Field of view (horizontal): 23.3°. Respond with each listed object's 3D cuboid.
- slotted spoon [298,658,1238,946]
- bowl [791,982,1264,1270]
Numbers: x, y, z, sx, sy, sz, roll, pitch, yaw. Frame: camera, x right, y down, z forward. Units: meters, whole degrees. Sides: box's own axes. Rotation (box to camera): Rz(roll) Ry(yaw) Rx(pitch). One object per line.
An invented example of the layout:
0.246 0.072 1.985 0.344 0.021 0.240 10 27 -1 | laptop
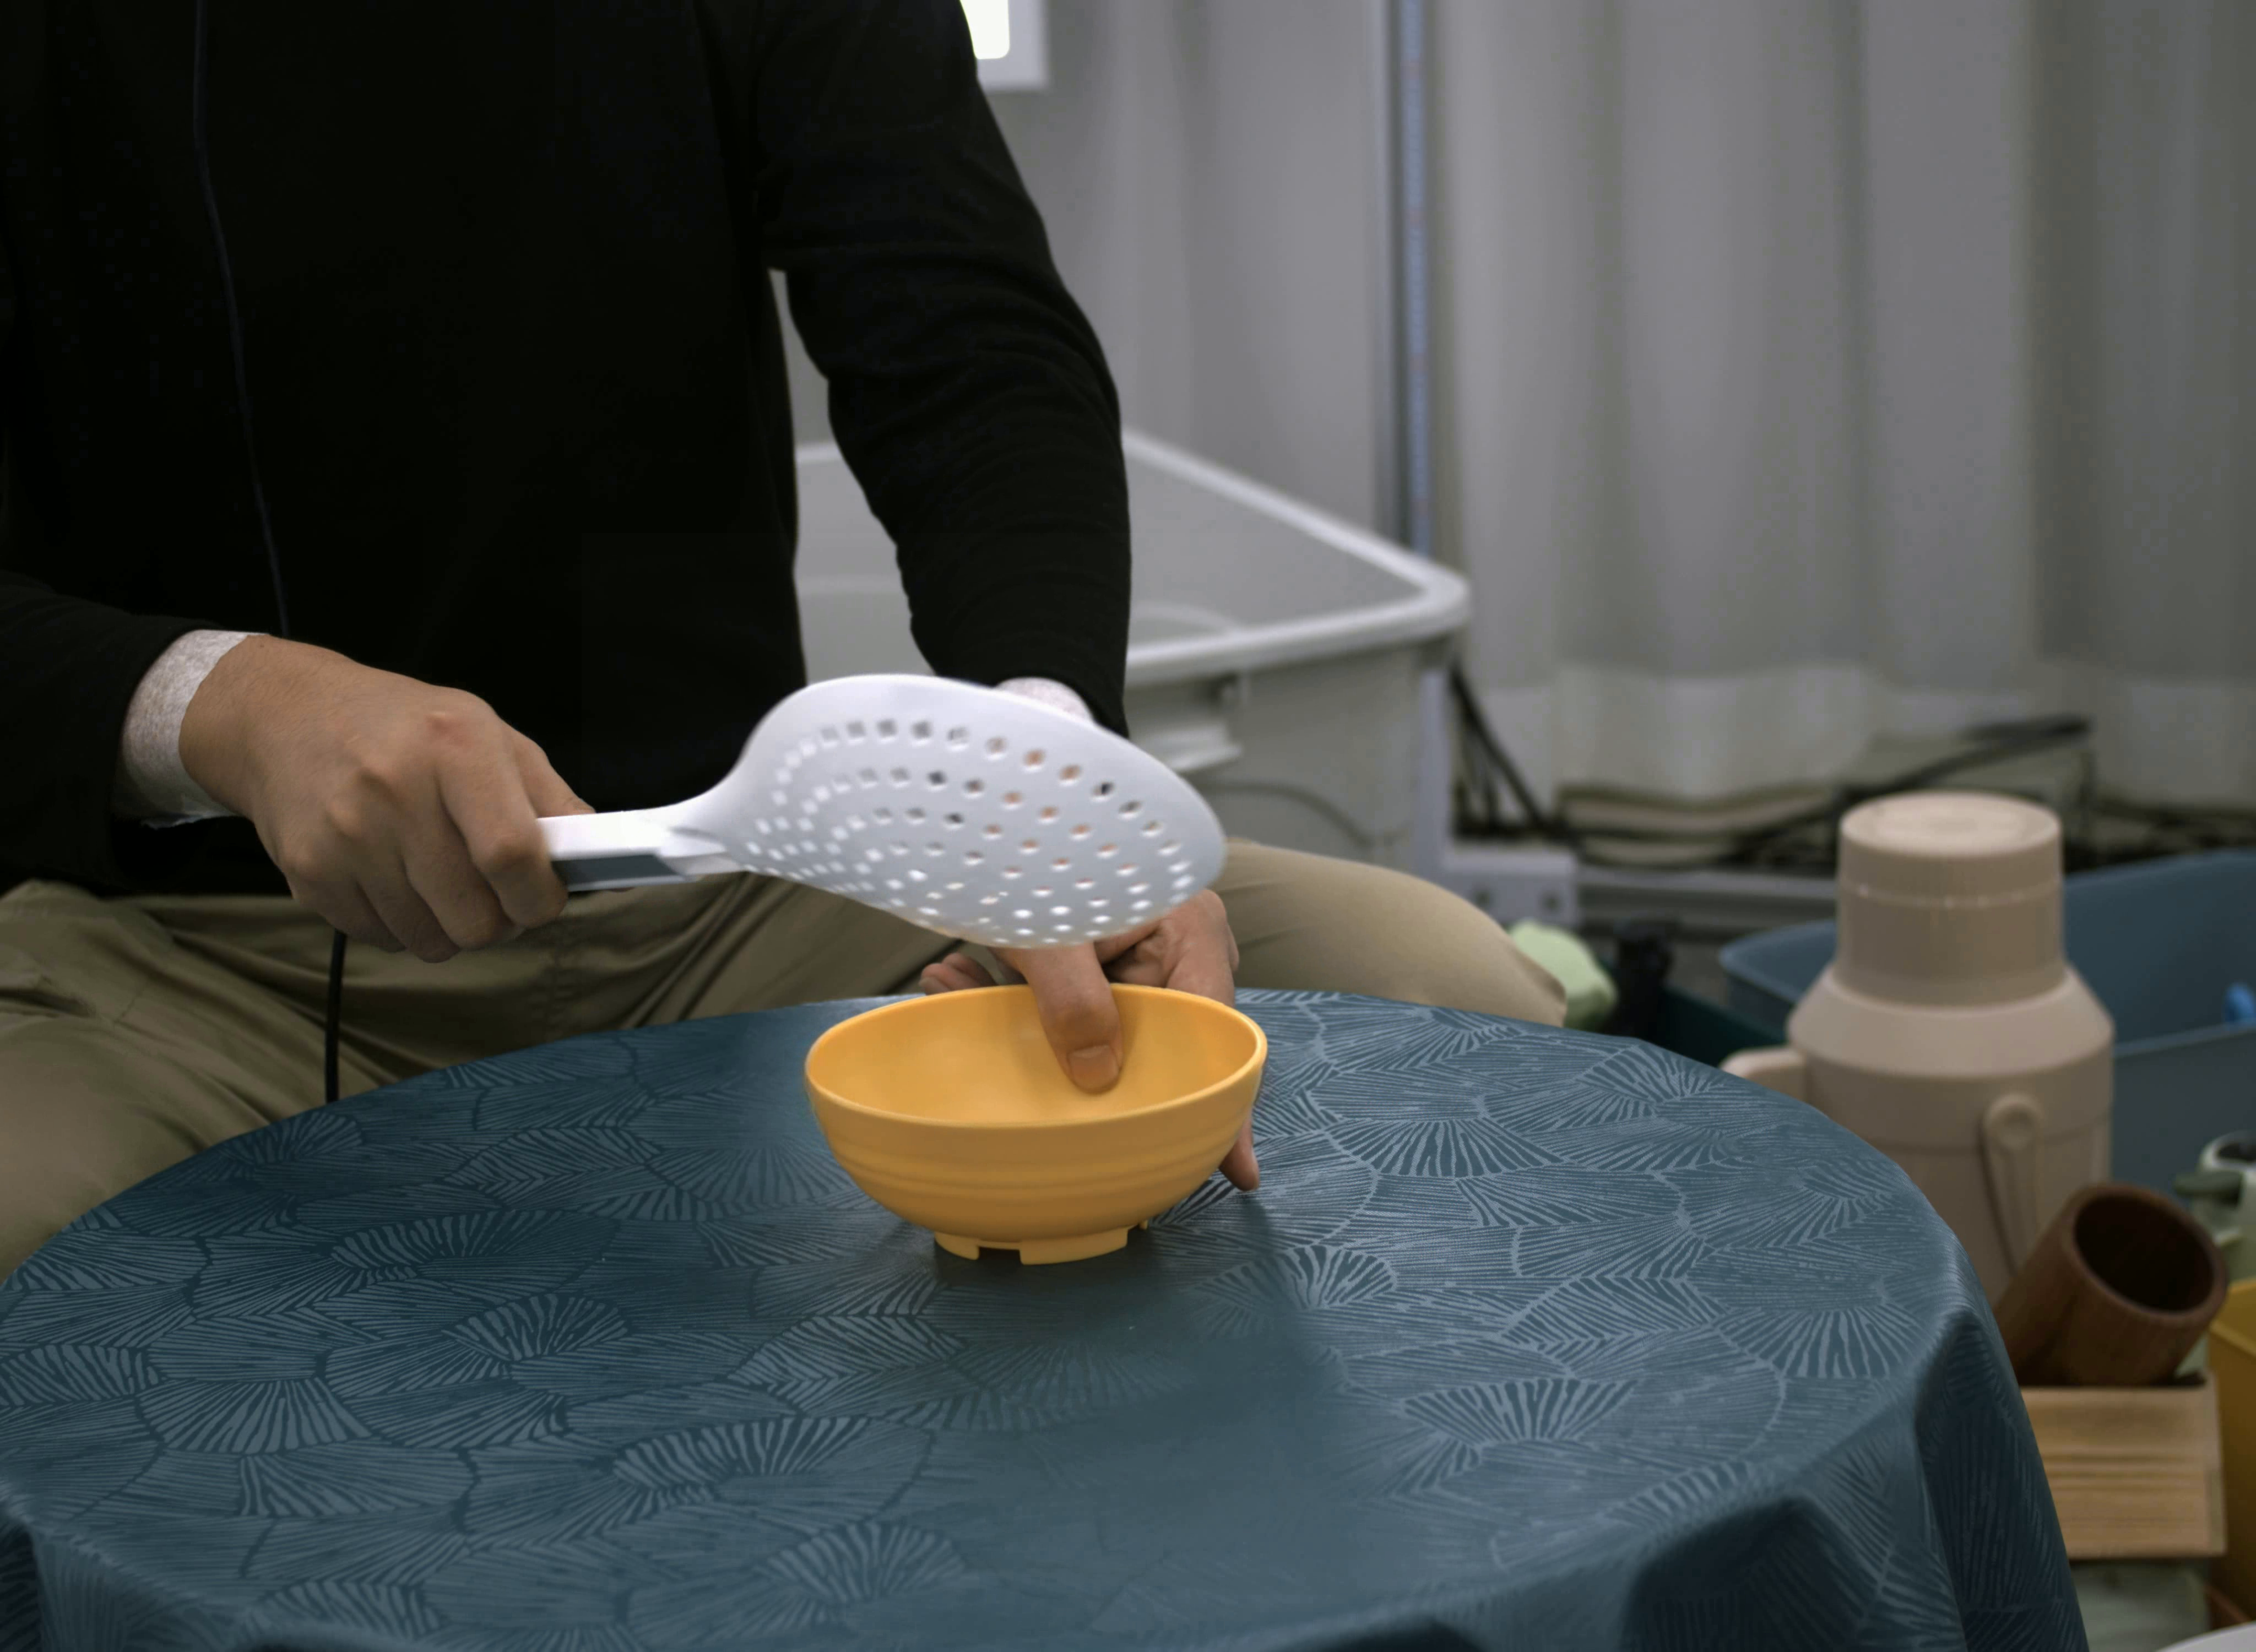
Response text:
-0.121 0.003 1.636 0.350 0.046 0.134 0 -32 40 | slotted spoon
-0.031 0.098 1.676 0.145 0.060 0.146 -1 15 0 | bowl
